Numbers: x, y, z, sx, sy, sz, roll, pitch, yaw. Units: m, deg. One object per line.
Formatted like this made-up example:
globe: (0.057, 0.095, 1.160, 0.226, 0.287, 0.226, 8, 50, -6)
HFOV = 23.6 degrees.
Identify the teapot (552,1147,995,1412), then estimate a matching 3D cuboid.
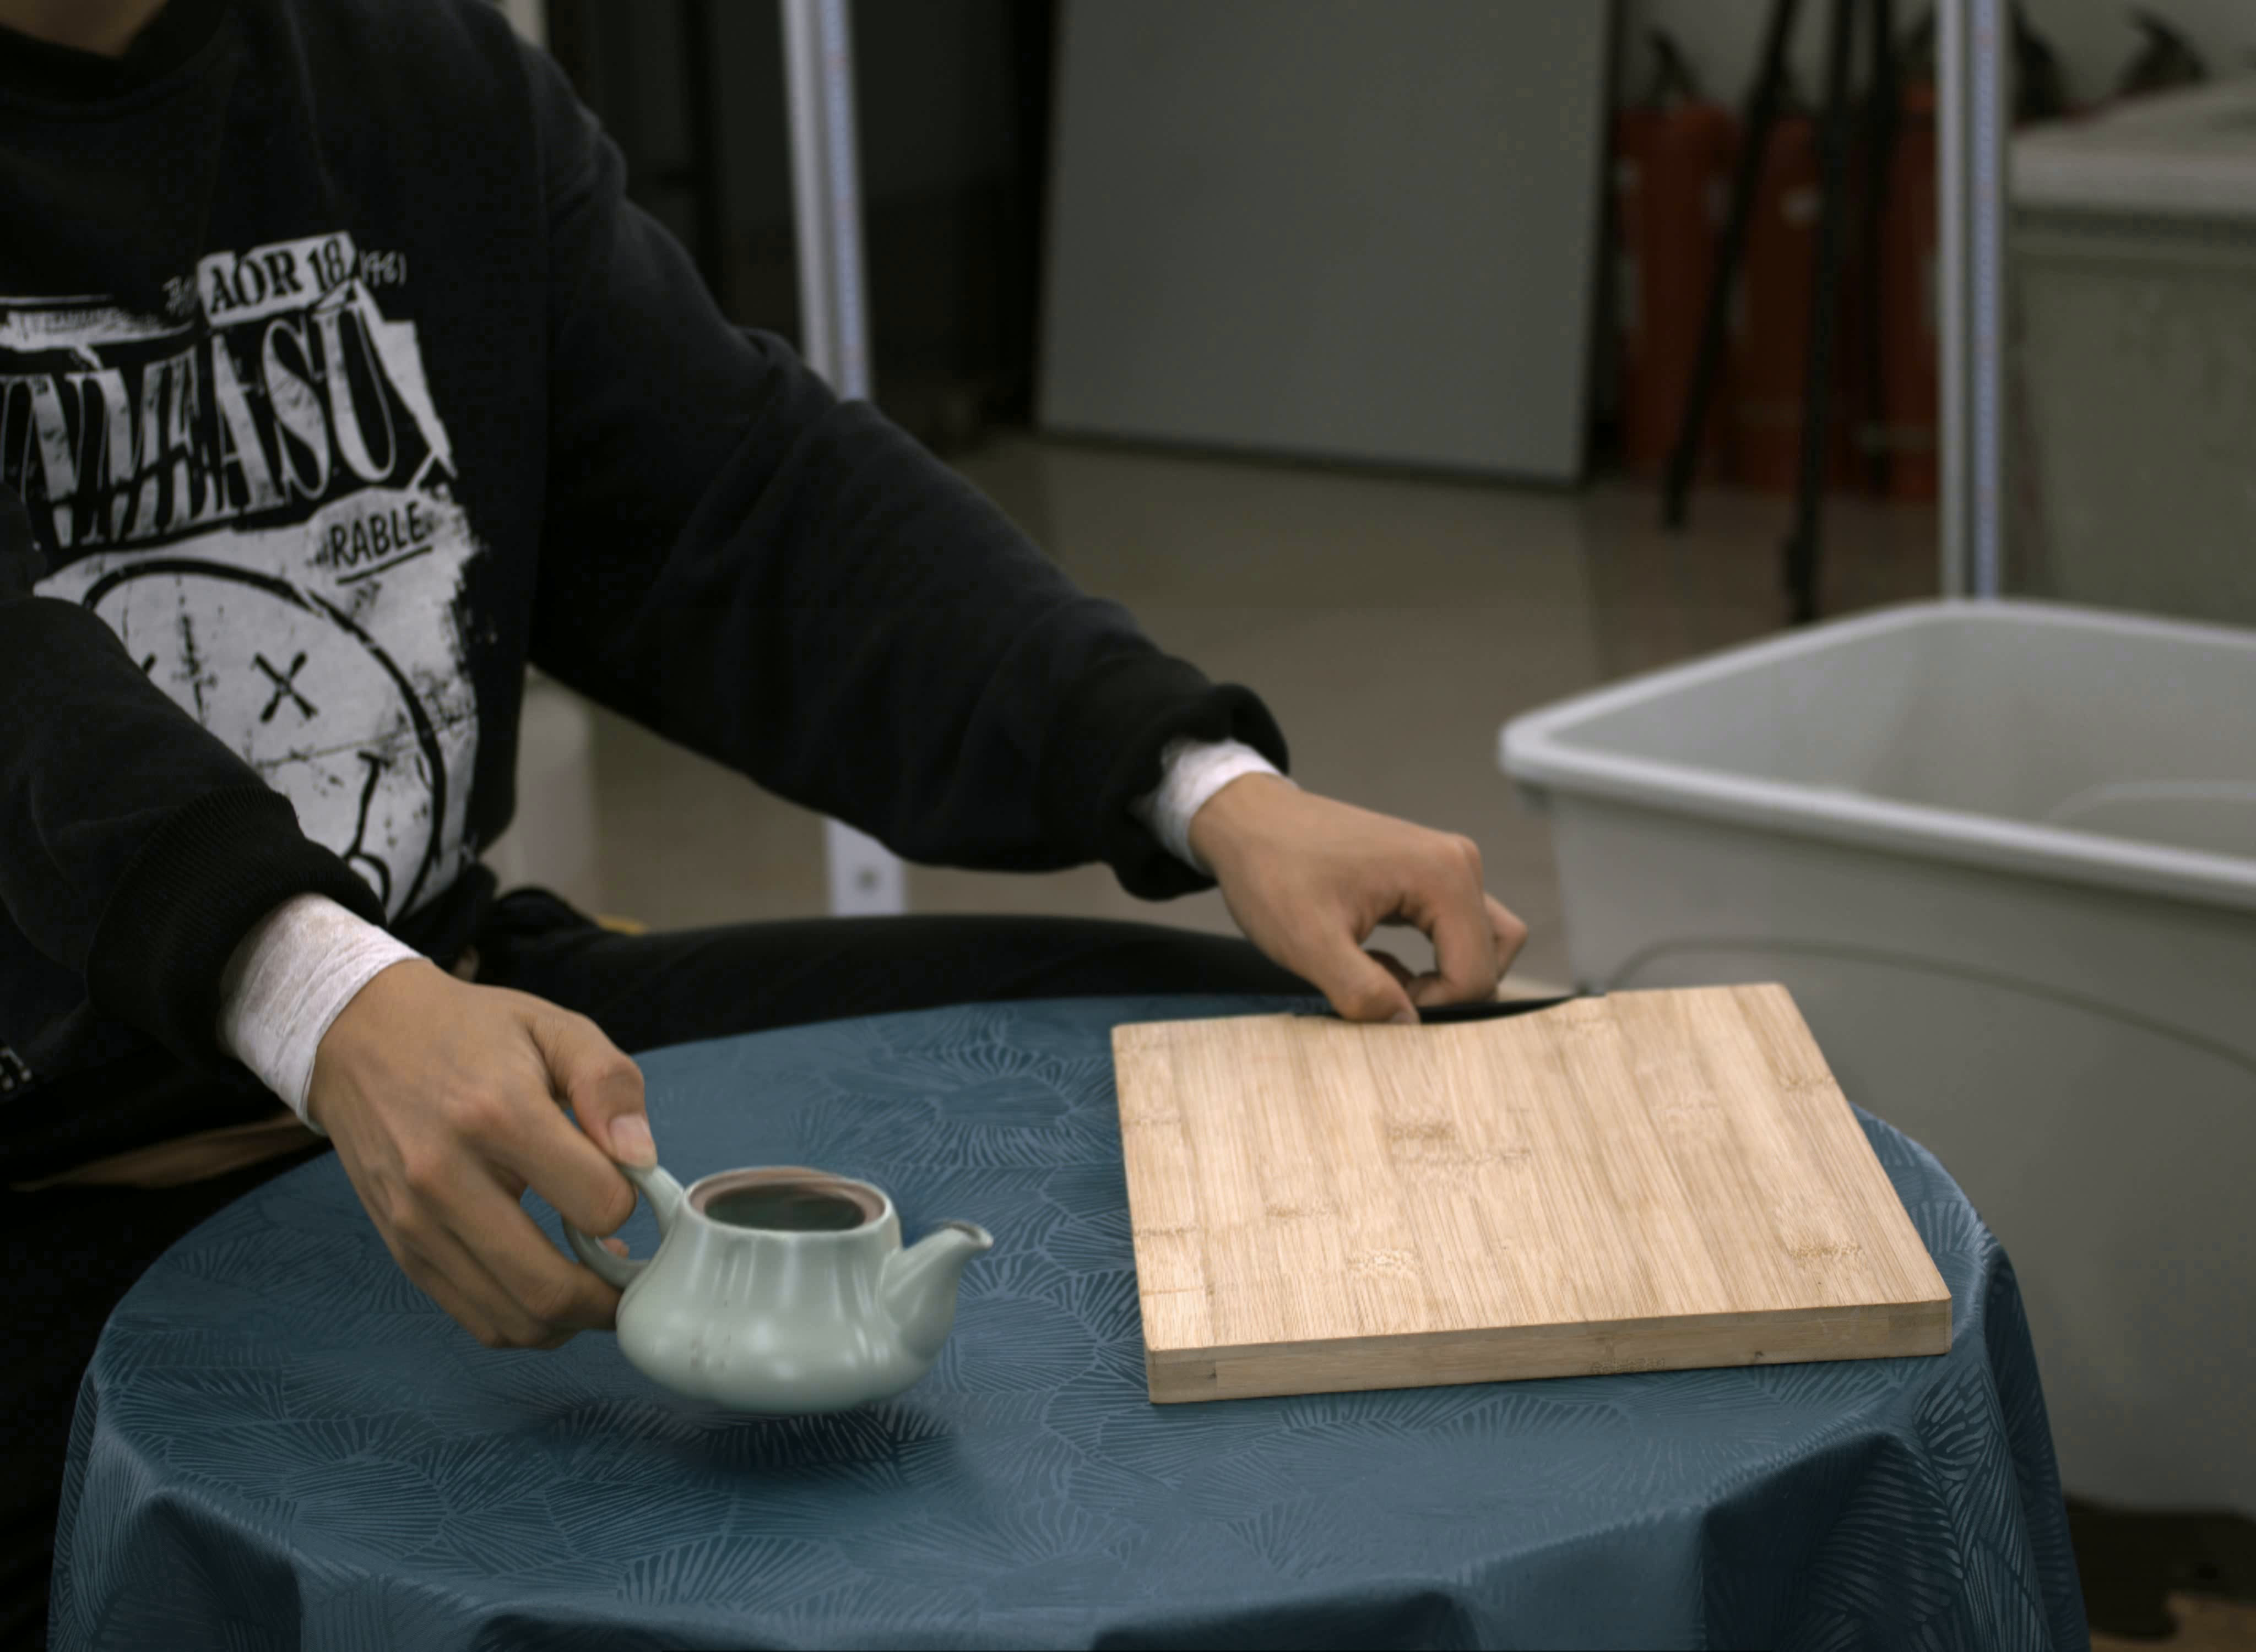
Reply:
teapot: (-0.104, 0.131, 1.565, 0.137, 0.062, 0.095, 9, 17, 19)

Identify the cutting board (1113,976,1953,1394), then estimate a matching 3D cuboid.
cutting board: (0.119, 0.112, 1.742, 0.247, 0.024, 0.349, -4, 14, -1)
